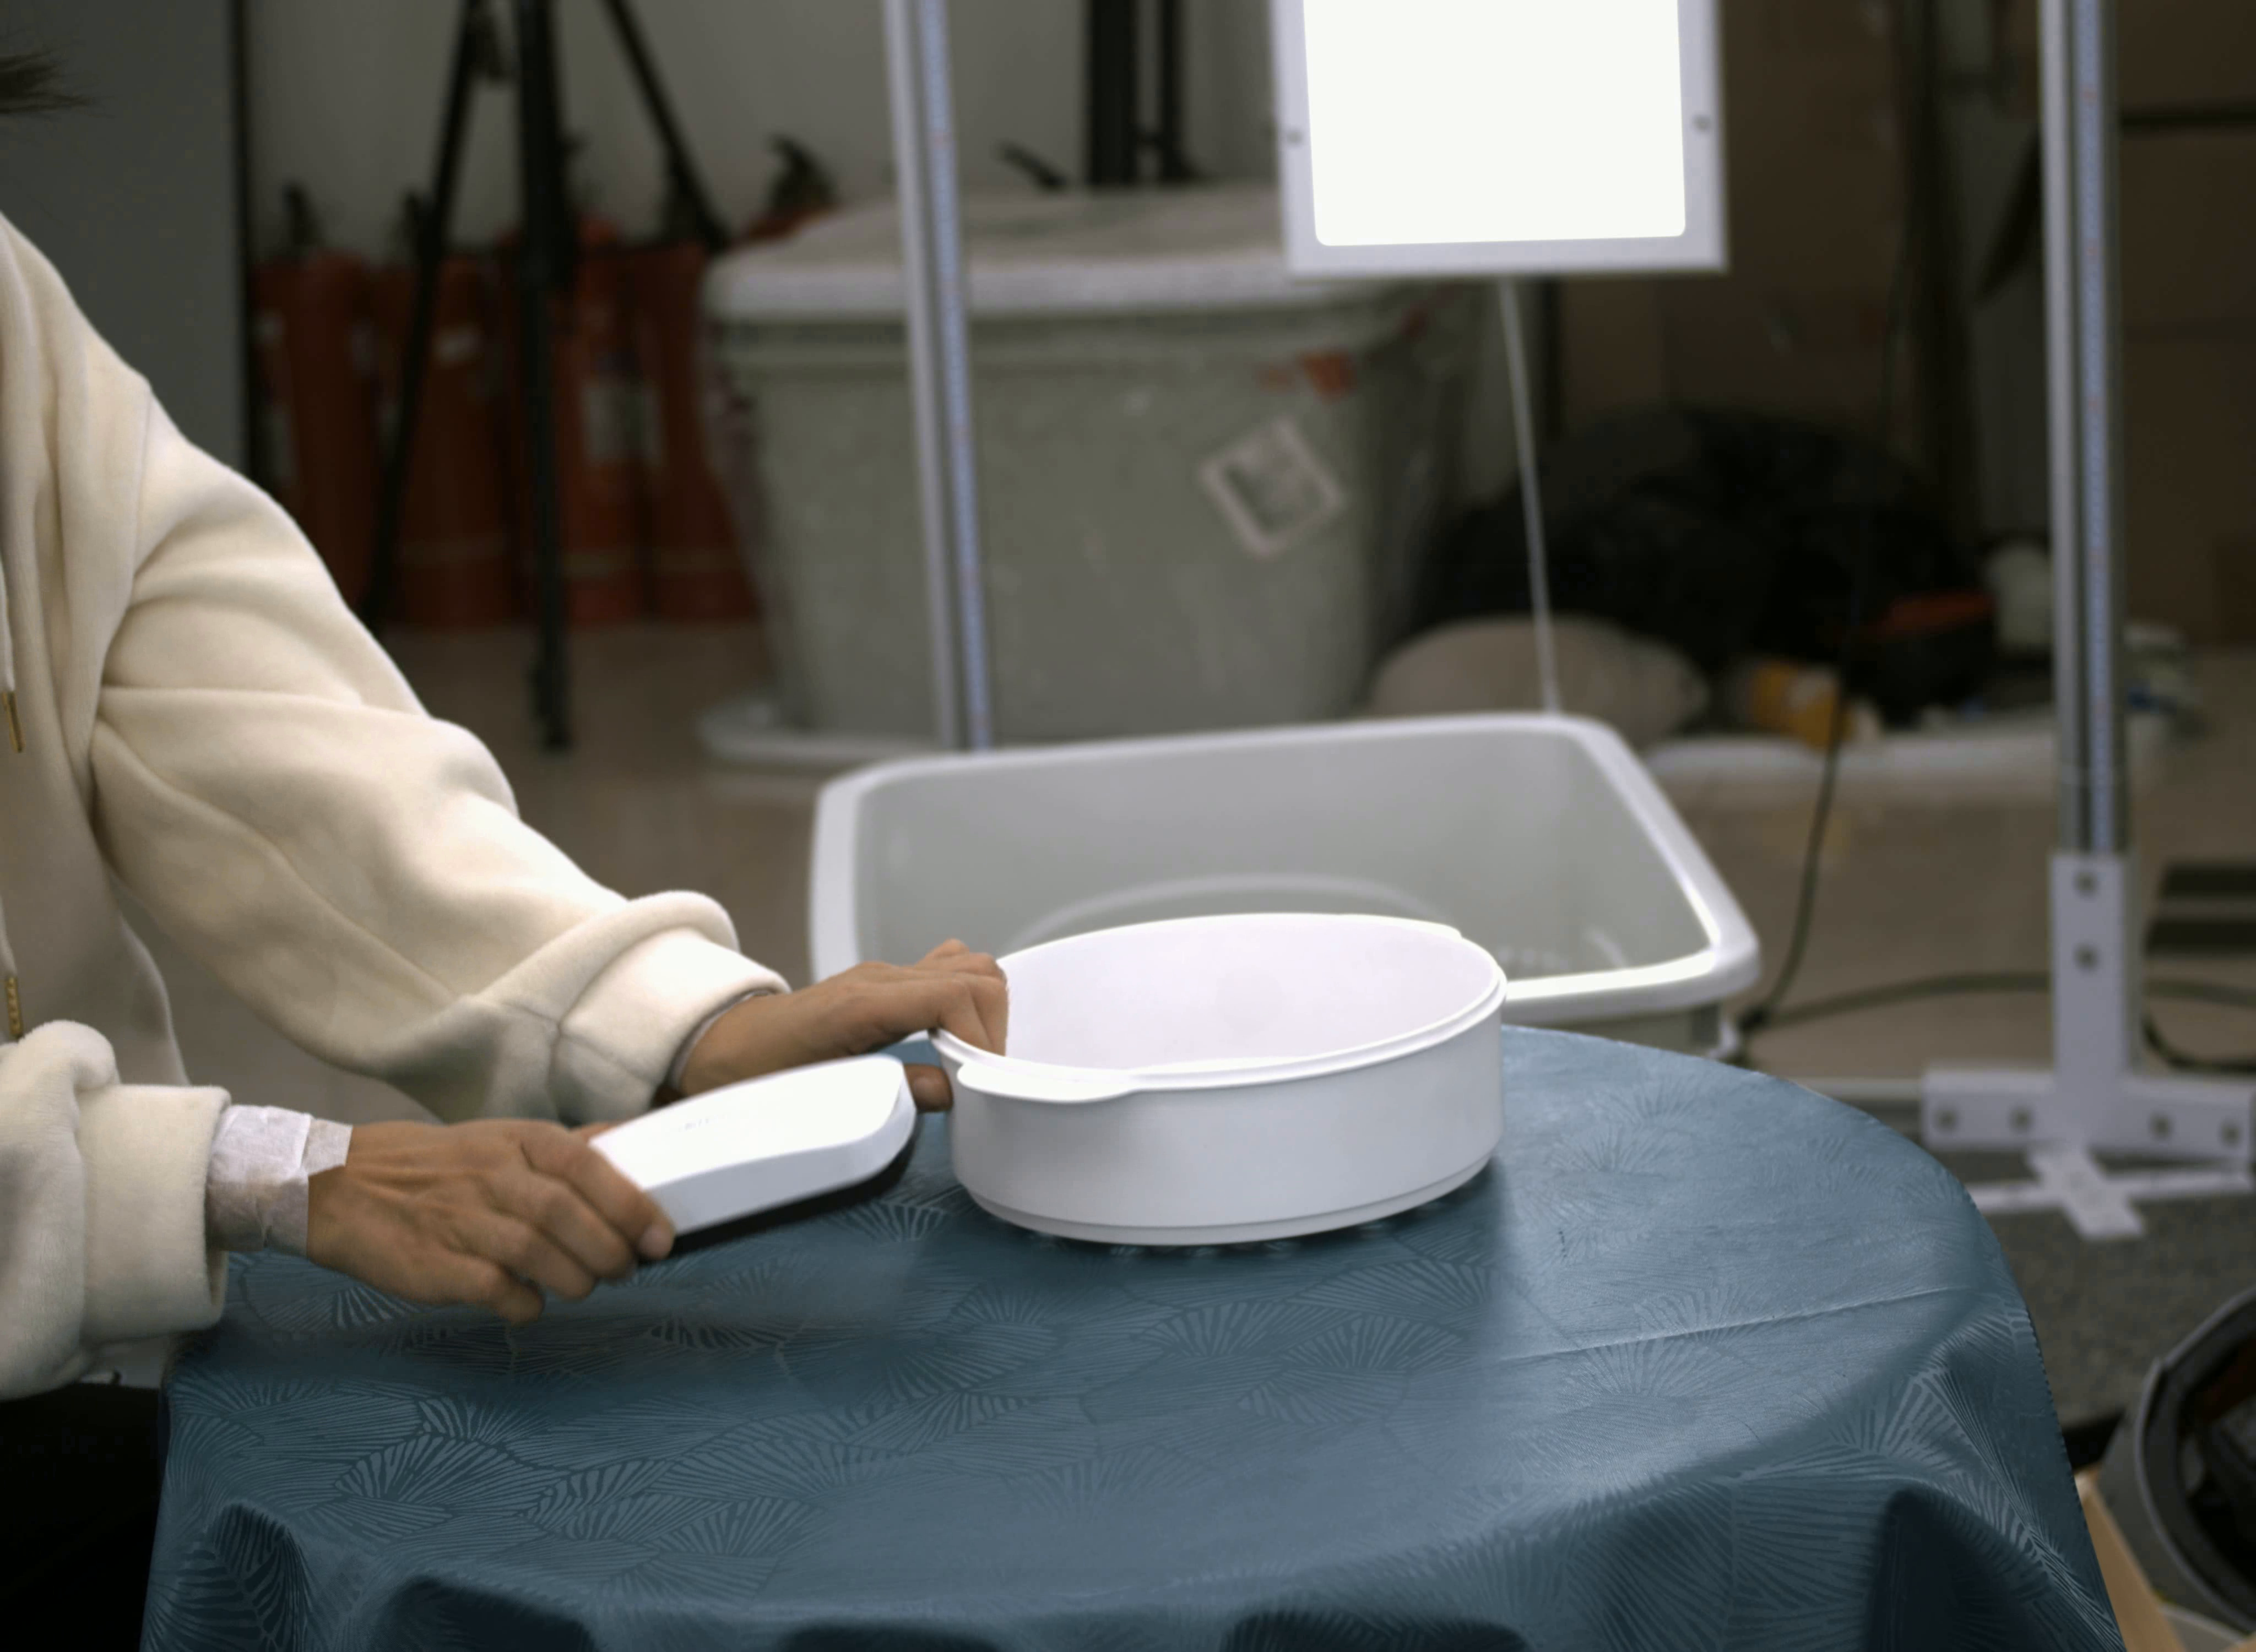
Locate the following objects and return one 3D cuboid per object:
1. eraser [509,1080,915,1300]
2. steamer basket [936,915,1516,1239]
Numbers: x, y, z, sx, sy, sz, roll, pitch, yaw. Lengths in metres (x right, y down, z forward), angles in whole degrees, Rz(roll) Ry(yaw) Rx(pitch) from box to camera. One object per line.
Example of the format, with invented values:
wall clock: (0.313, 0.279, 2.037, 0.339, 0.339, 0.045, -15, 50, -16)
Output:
eraser: (-0.133, 0.114, 1.773, 0.133, 0.034, 0.062, -15, 20, 19)
steamer basket: (0.036, 0.087, 1.904, 0.206, 0.069, 0.225, 6, 17, 38)
